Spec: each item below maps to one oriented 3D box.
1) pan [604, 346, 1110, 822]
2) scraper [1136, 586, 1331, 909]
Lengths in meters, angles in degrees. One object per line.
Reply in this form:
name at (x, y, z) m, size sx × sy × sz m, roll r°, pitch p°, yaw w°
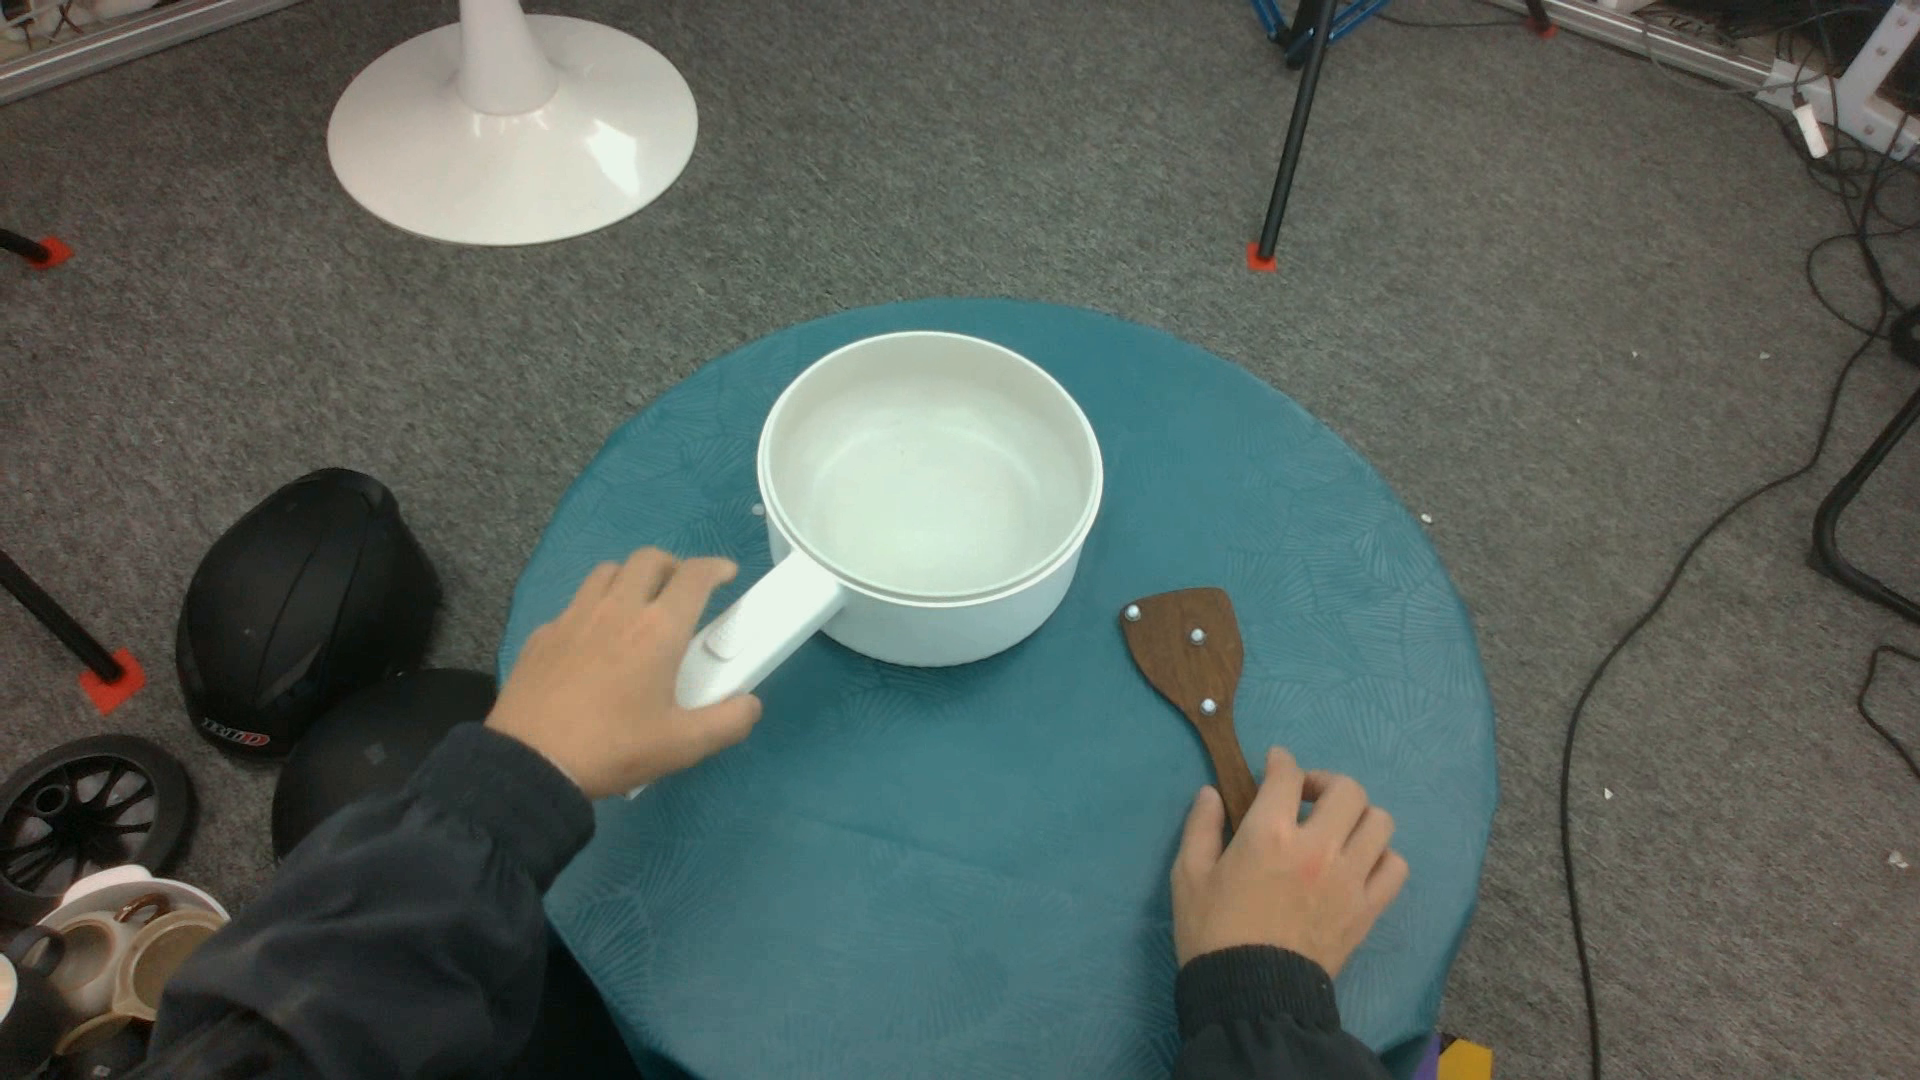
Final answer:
pan at (-0.059, 0.036, 0.813) m, size 0.201 × 0.101 × 0.356 m, roll 33°, pitch 61°, yaw 19°
scraper at (0.168, 0.118, 0.817) m, size 0.076 × 0.011 × 0.212 m, roll -10°, pitch 55°, yaw -9°
